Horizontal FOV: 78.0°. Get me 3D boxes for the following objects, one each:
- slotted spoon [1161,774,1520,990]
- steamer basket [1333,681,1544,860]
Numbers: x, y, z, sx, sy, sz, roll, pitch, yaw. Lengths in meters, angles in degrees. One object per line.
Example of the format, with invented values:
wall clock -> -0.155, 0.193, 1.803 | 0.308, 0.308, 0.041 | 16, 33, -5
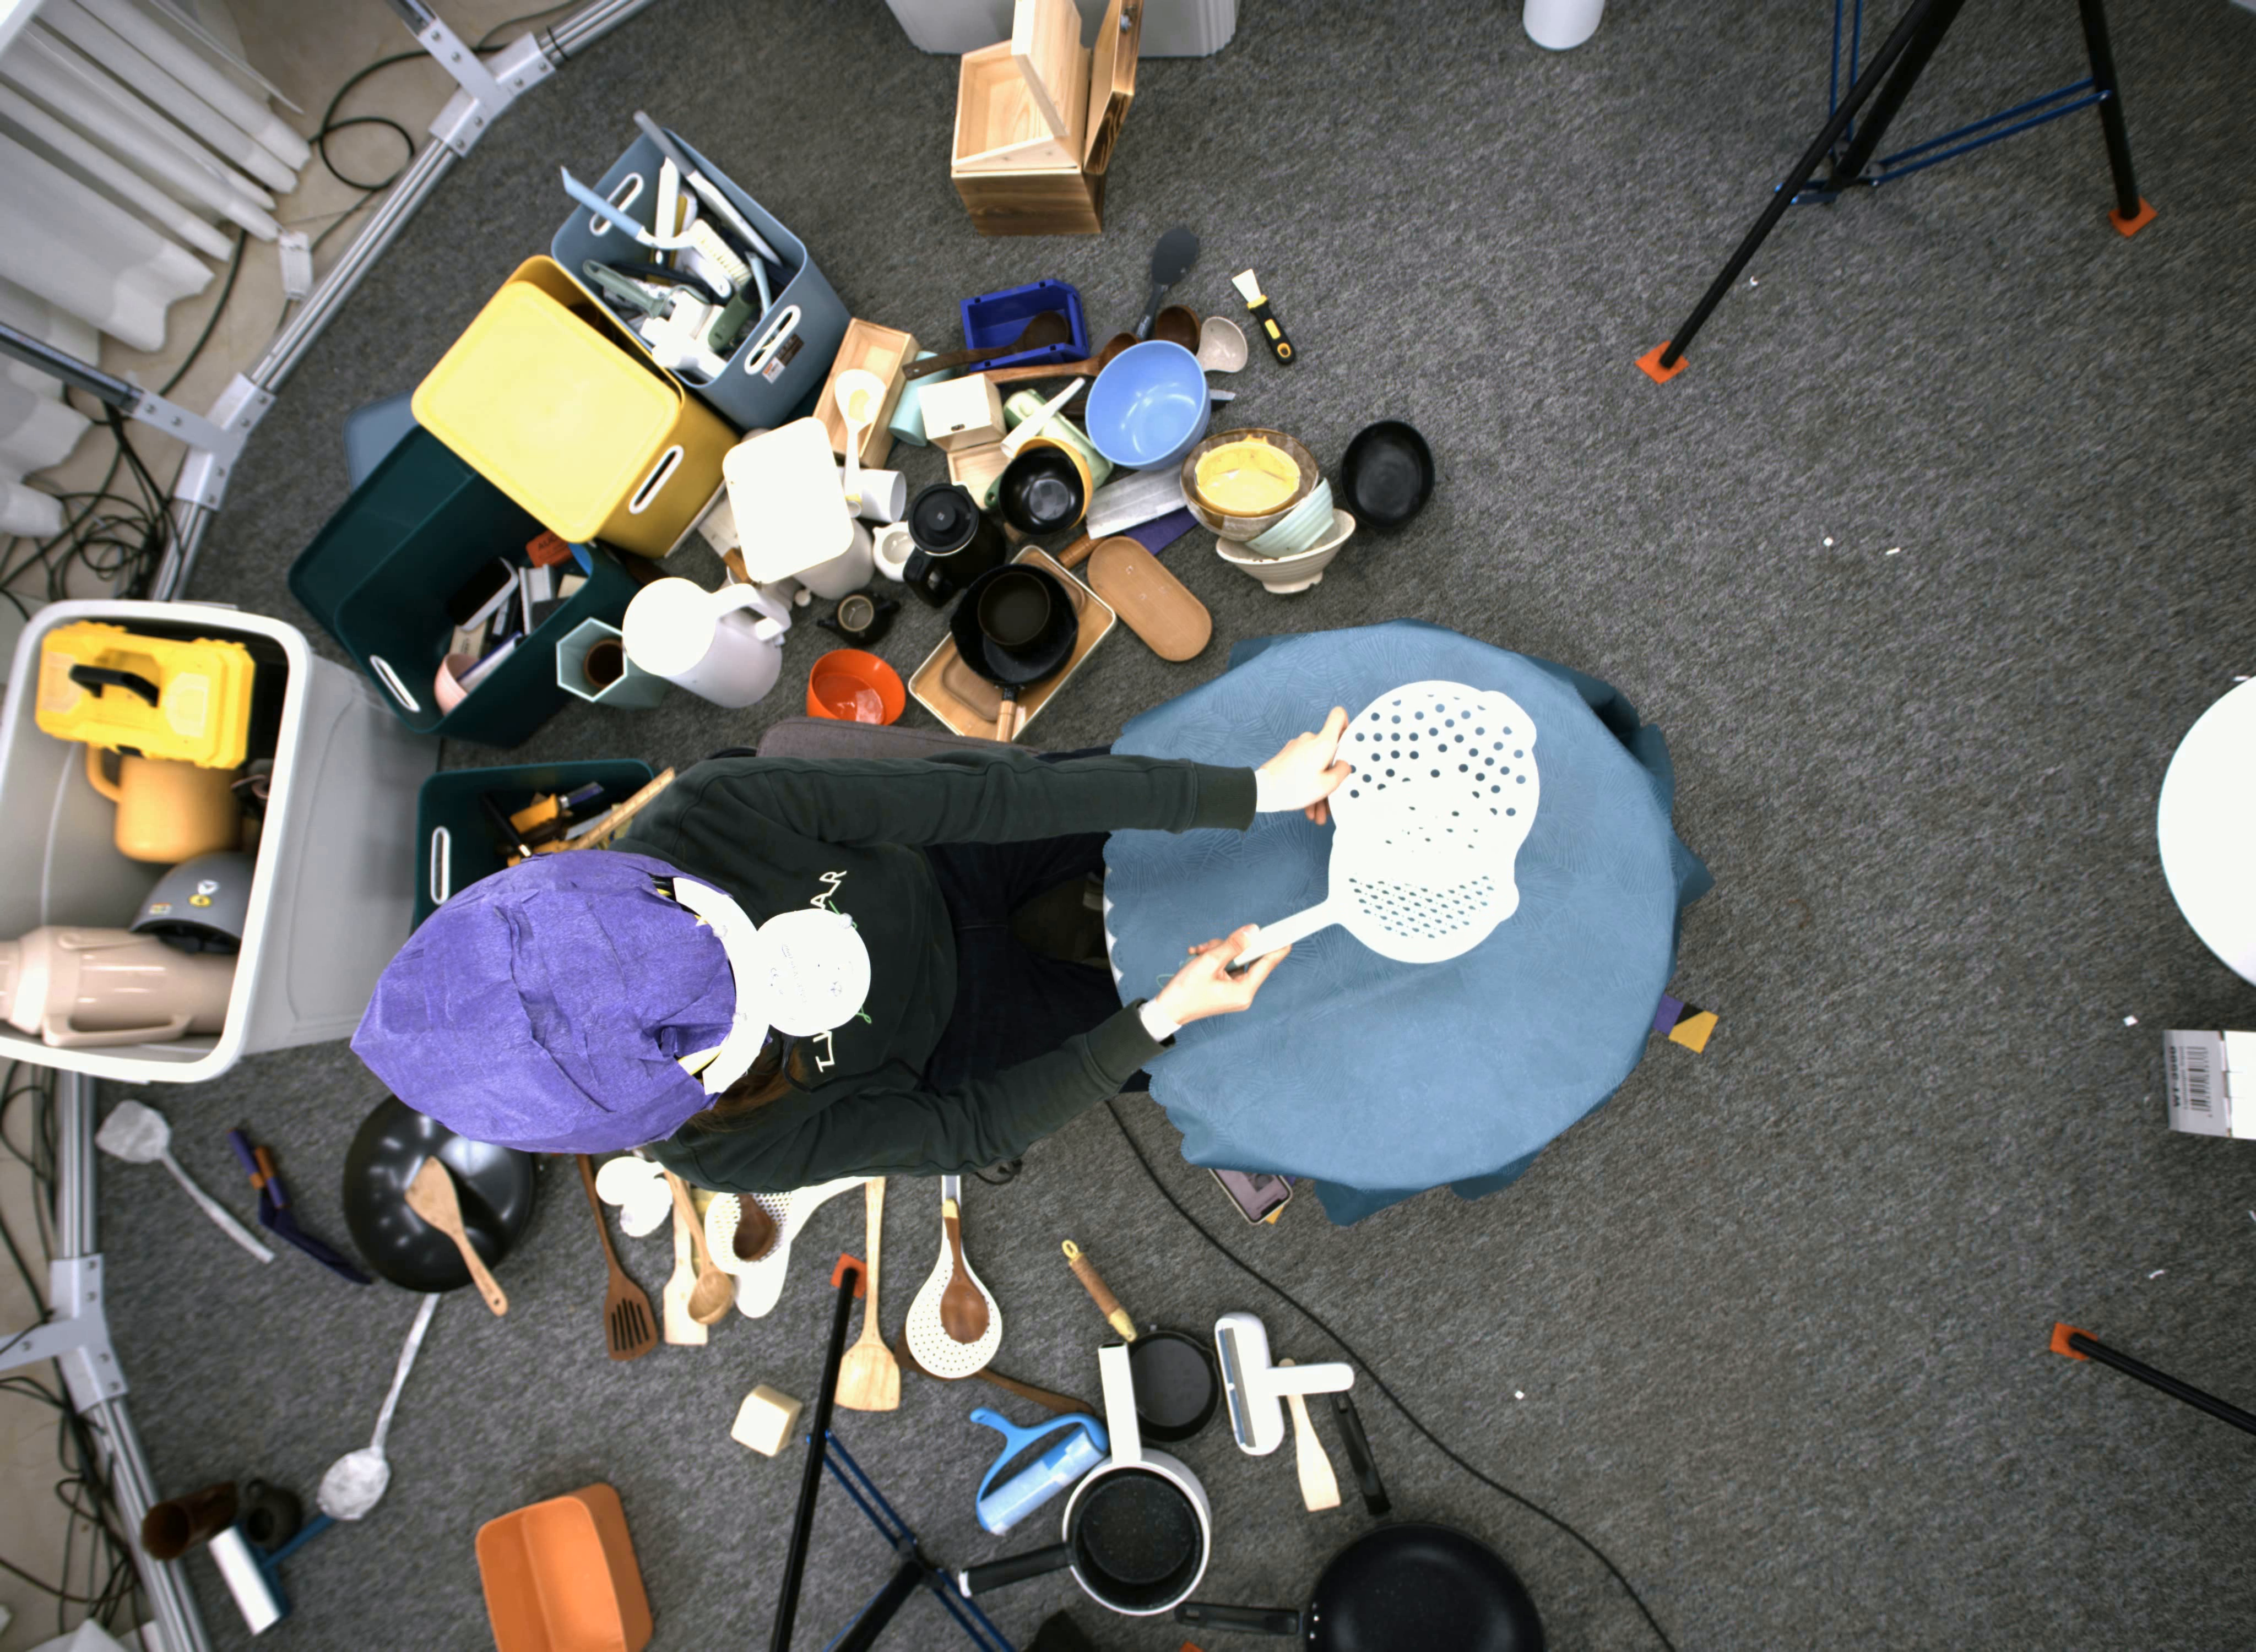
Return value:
slotted spoon -> 0.193, 0.081, 1.329 | 0.360, 0.075, 0.168 | -24, 82, 6
steamer basket -> 0.307, -0.046, 1.359 | 0.202, 0.068, 0.235 | 43, 115, 0
